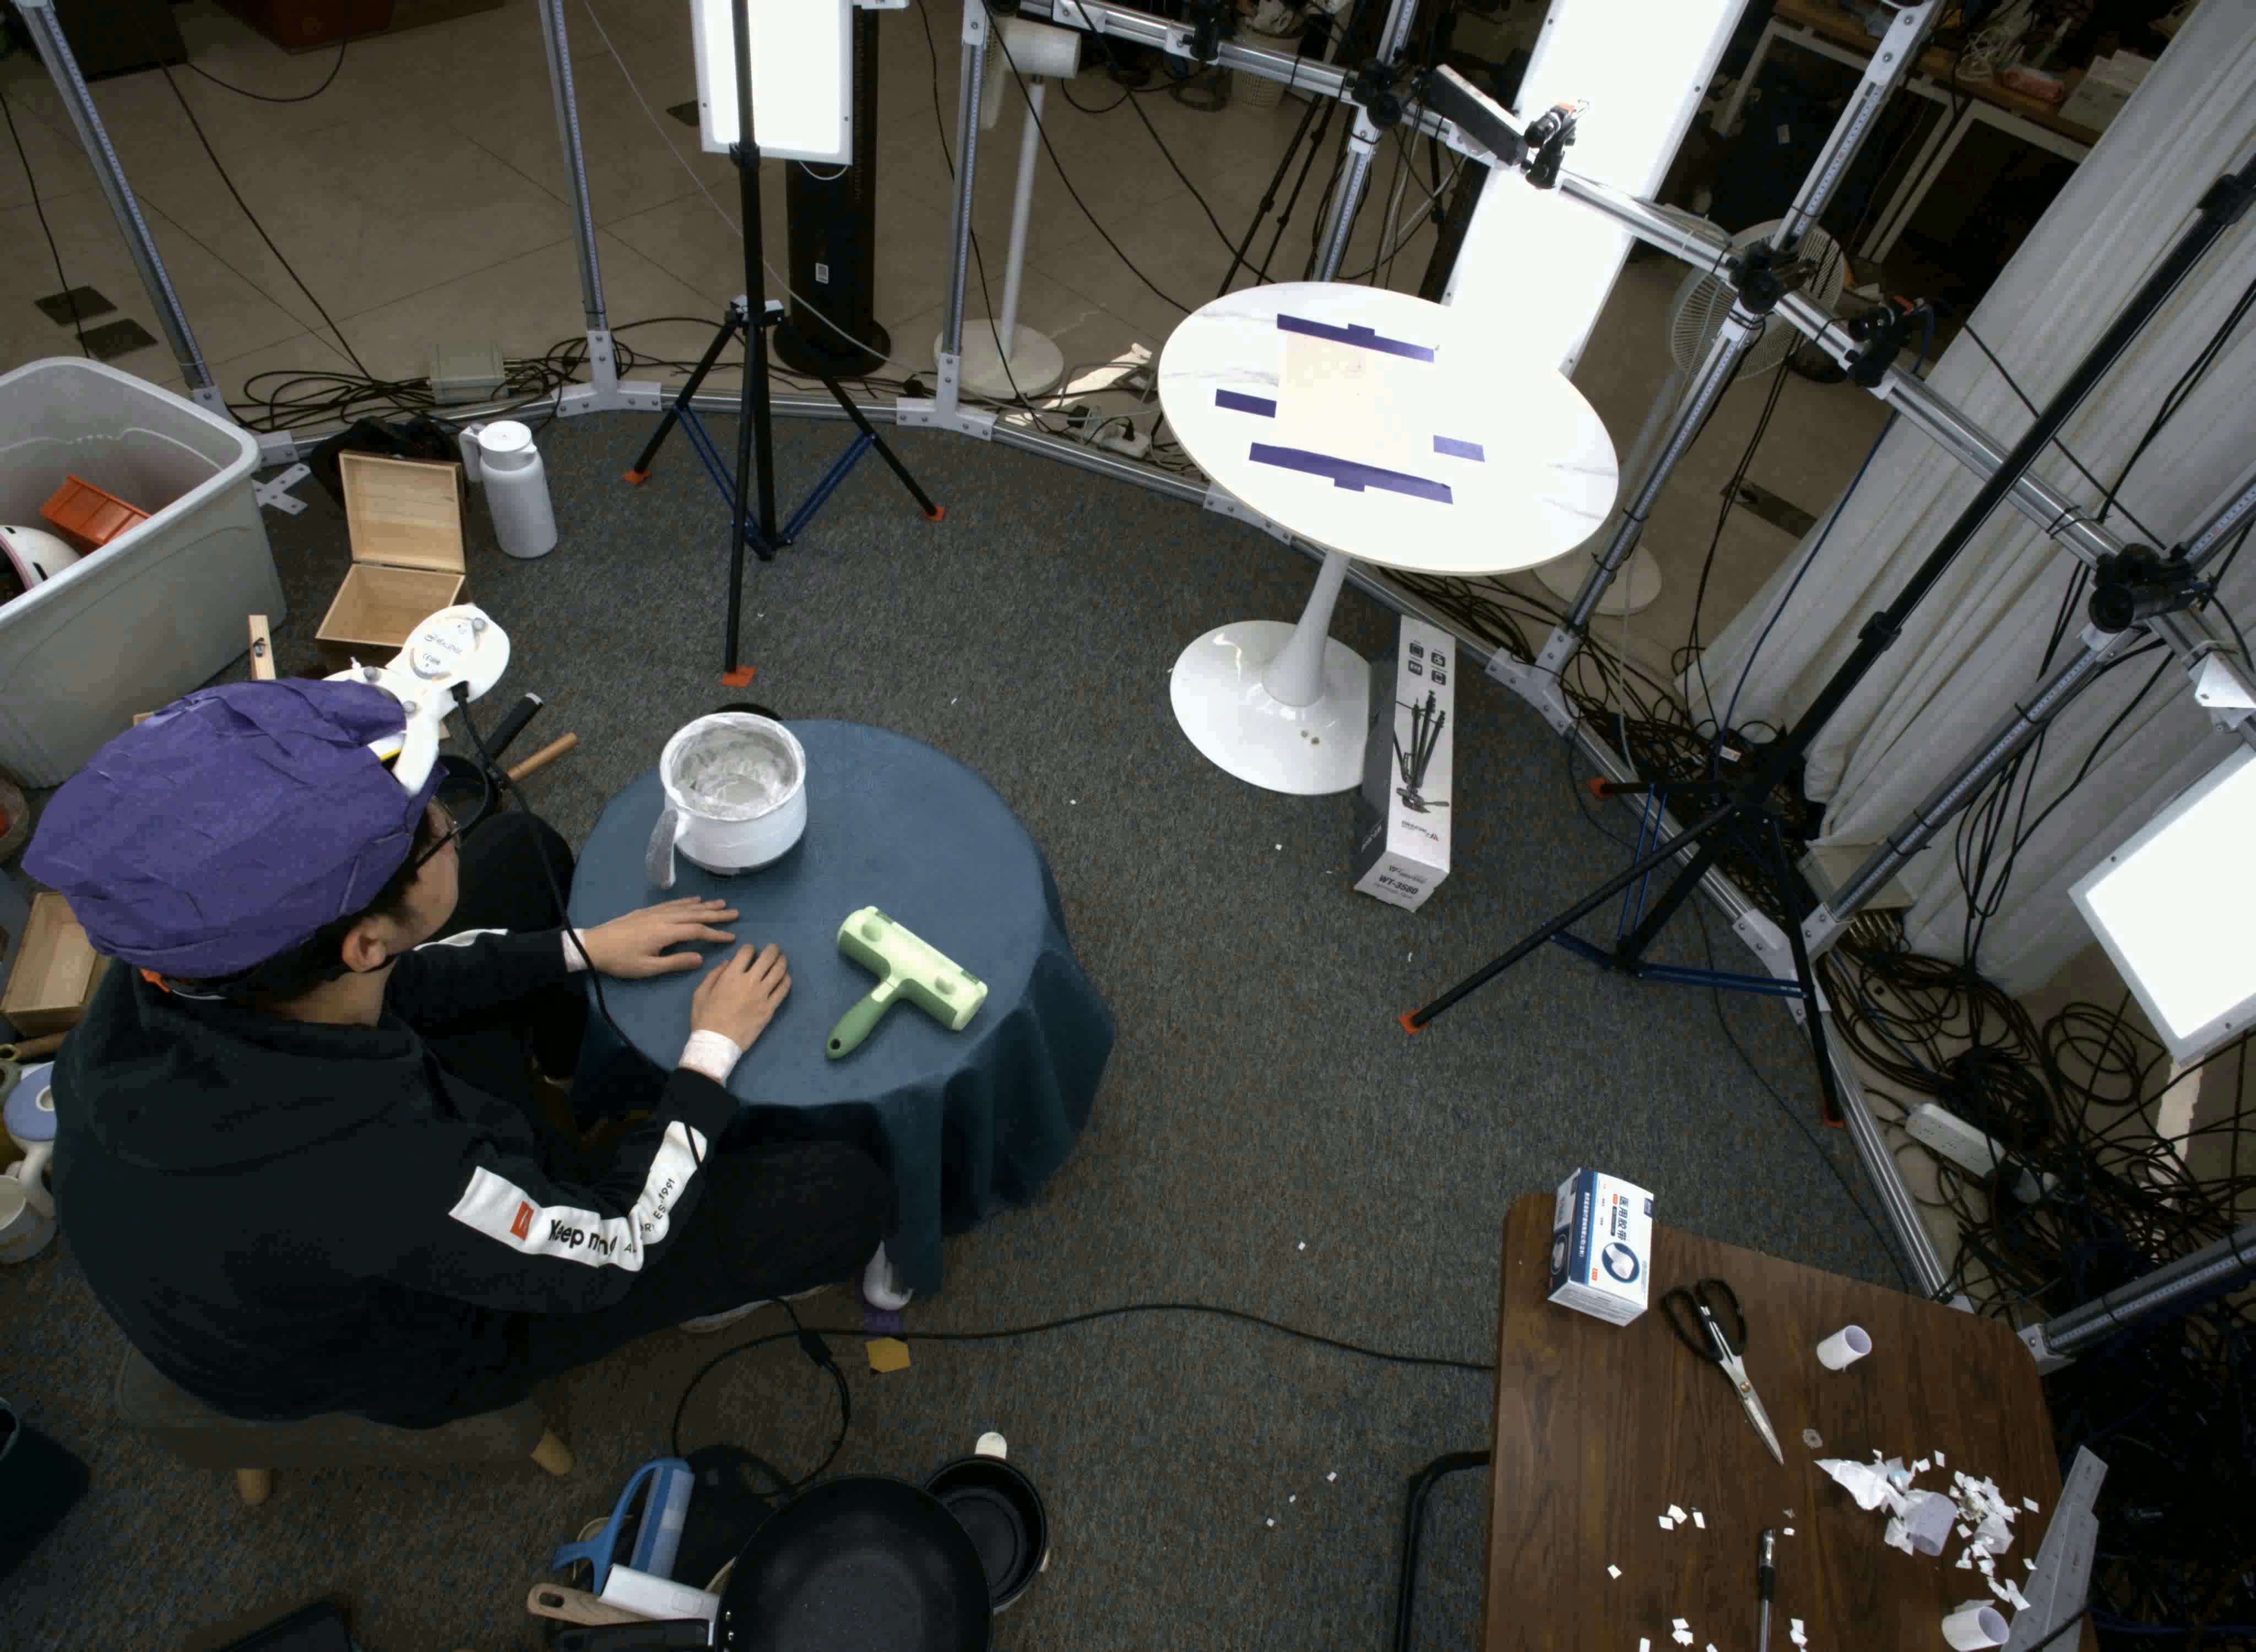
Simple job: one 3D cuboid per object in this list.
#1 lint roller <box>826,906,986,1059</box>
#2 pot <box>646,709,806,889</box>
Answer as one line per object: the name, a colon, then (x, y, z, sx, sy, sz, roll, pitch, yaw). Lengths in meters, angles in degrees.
lint roller: (-0.299, 0.199, 1.568, 0.195, 0.084, 0.183, 34, 48, 11)
pot: (-0.517, -0.024, 1.634, 0.175, 0.139, 0.233, 33, 52, 12)
